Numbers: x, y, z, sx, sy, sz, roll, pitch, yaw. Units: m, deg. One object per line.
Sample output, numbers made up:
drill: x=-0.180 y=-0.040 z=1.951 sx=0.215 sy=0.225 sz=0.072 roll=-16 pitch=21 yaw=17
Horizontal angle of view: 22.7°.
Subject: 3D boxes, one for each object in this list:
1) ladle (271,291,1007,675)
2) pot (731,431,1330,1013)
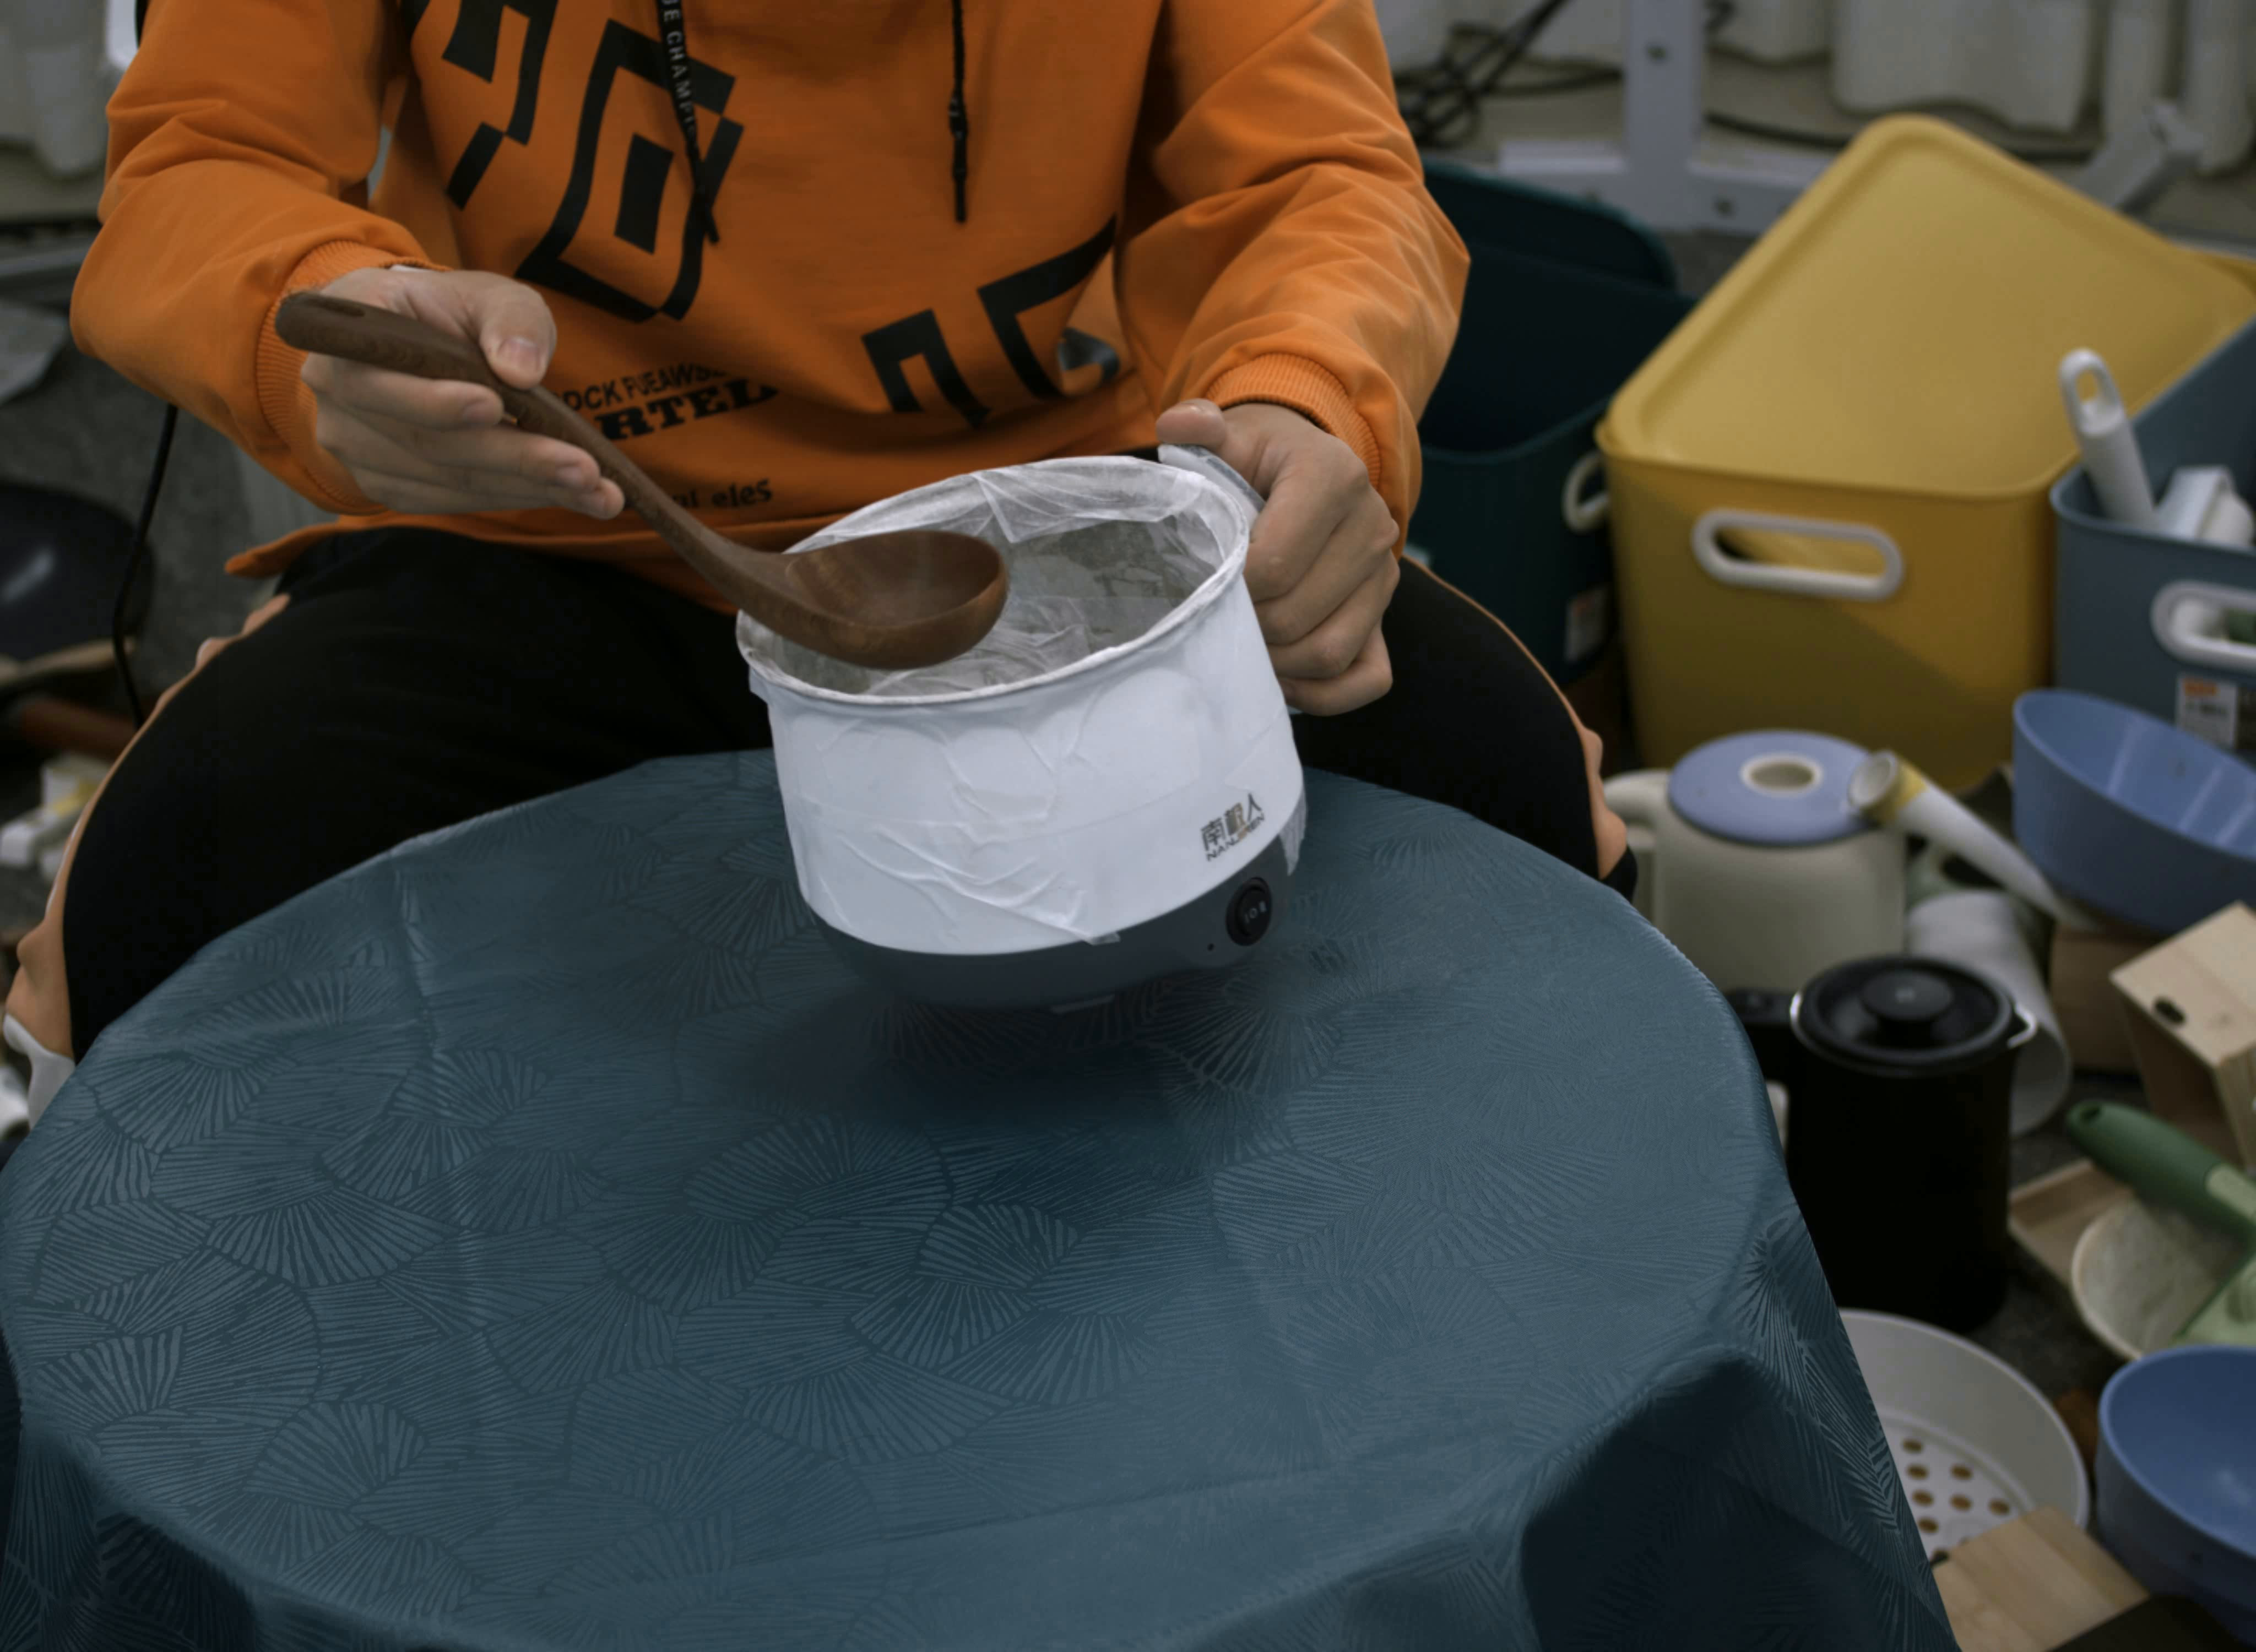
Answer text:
ladle: x=-0.156 y=-0.123 z=1.847 sx=0.259 sy=0.065 sz=0.077 roll=32 pitch=13 yaw=-20
pot: x=-0.018 y=-0.043 z=1.932 sx=0.177 sy=0.135 sz=0.237 roll=12 pitch=36 yaw=38
